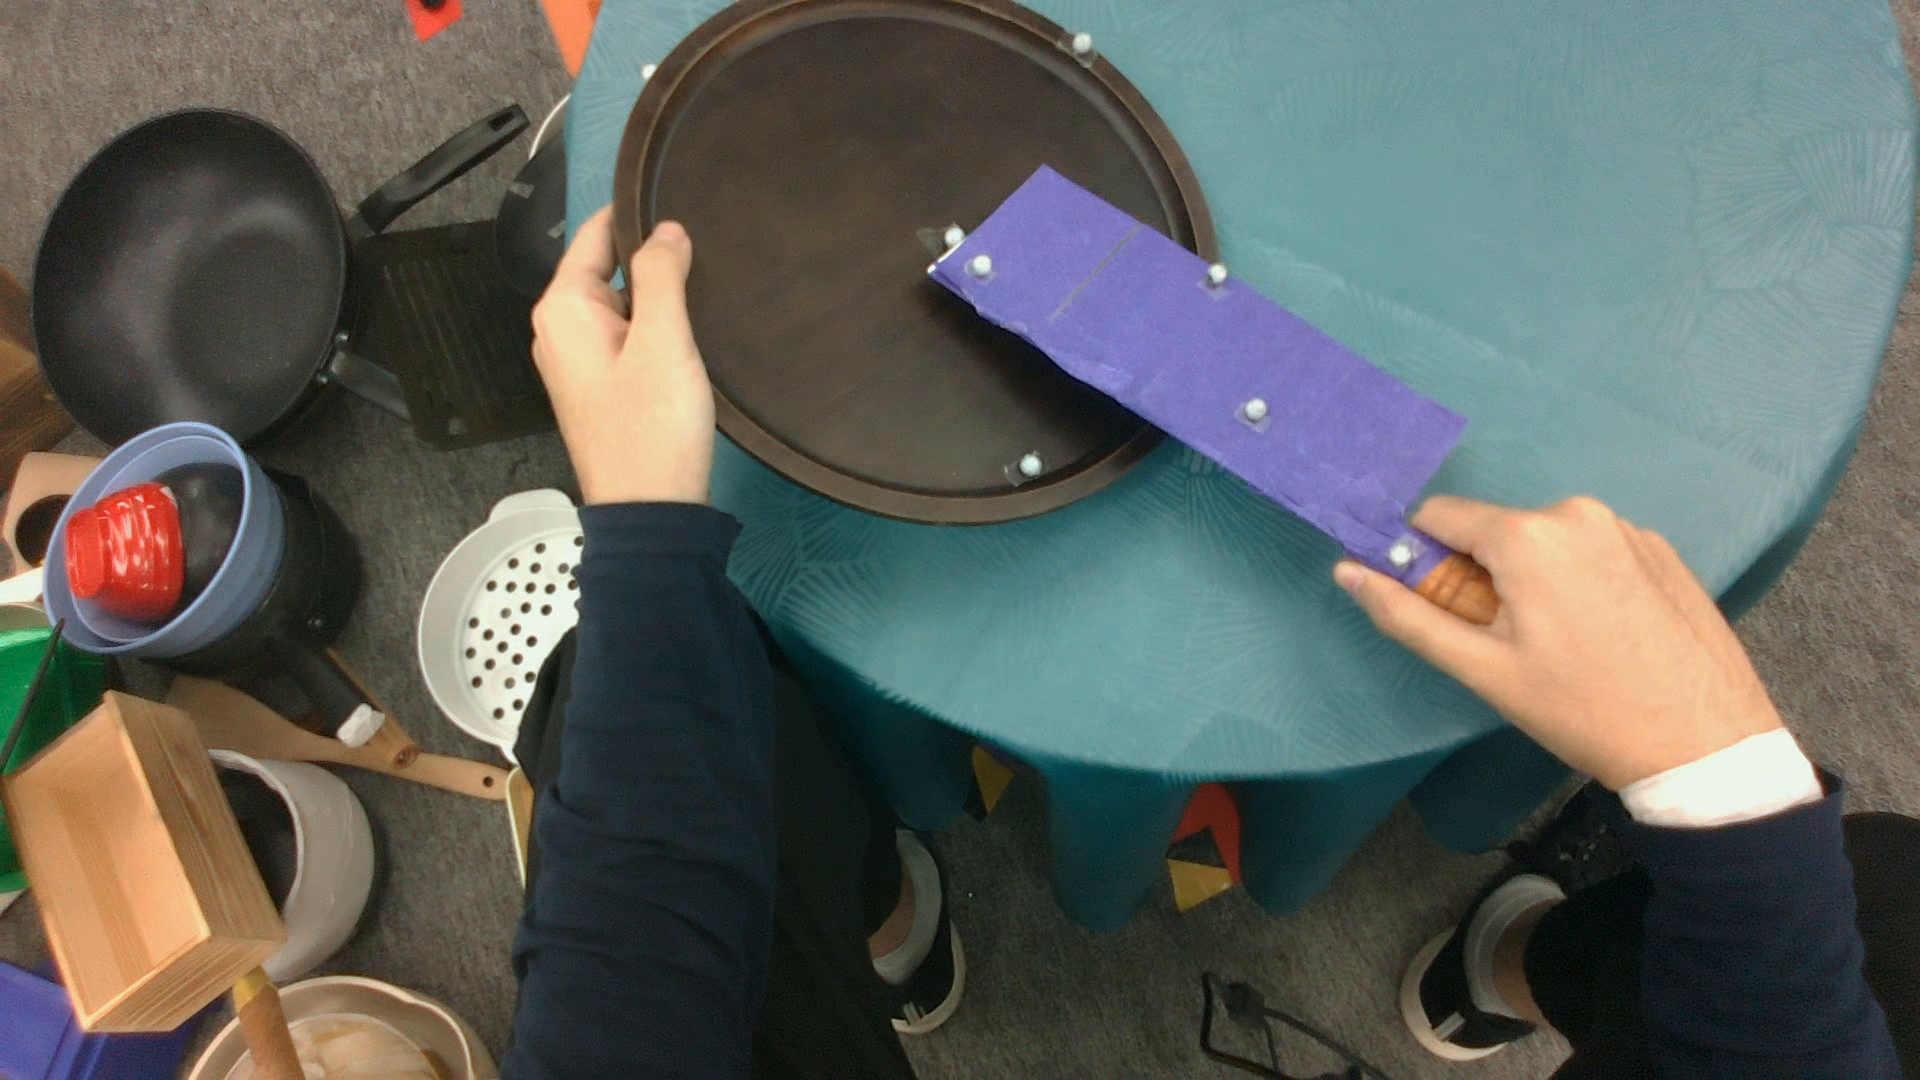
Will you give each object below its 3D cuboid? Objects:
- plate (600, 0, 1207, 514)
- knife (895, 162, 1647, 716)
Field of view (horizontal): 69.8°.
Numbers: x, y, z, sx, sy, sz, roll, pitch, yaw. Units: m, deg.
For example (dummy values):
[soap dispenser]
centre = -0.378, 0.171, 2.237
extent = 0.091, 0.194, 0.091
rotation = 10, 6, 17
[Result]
[plate]
centre = -0.018, -0.127, 0.568
extent = 0.255, 0.029, 0.255
rotation = 6, 68, -15
[knife]
centre = 0.127, -0.055, 0.535
extent = 0.315, 0.032, 0.104
rotation = 35, 57, 10
